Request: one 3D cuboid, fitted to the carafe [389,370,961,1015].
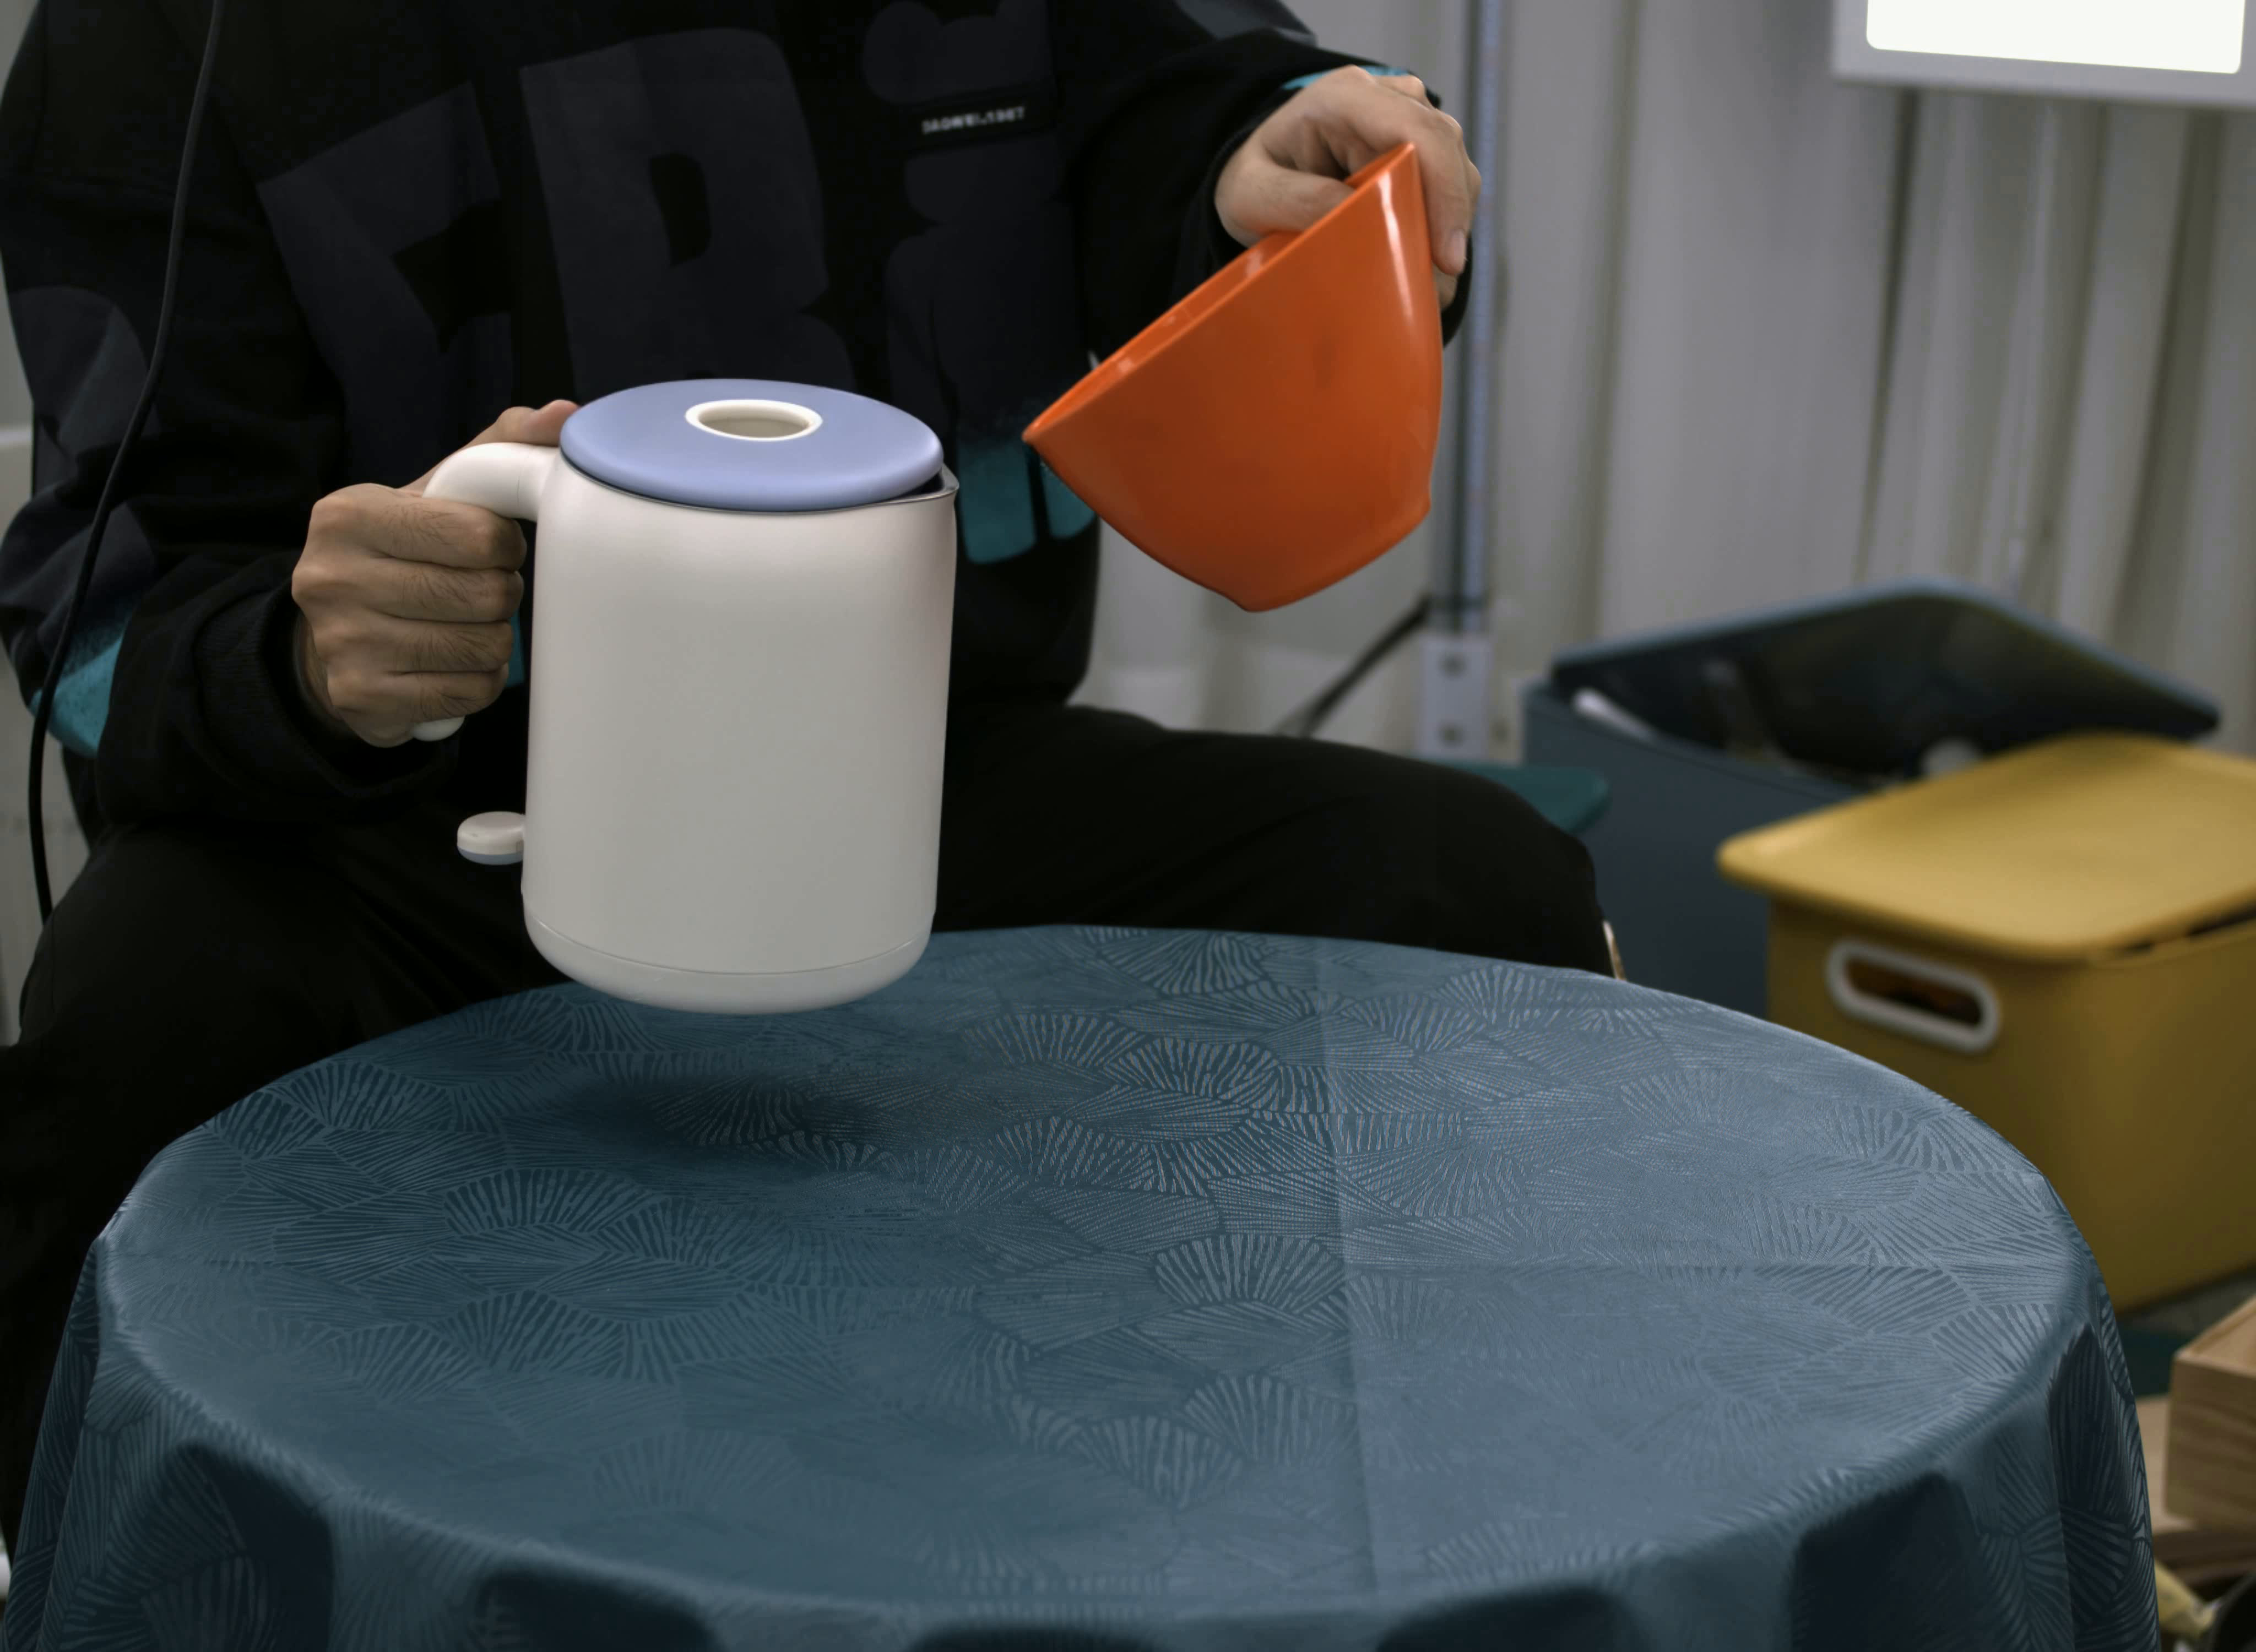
[{"bbox_3d":[-0.144,-0.046,1.648,0.189,0.184,0.132,8,22,16],"label":"carafe"}]

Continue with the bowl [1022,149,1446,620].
[{"bbox_3d":[0.047,-0.126,1.592,0.147,0.105,0.147,-28,14,8],"label":"bowl"}]
